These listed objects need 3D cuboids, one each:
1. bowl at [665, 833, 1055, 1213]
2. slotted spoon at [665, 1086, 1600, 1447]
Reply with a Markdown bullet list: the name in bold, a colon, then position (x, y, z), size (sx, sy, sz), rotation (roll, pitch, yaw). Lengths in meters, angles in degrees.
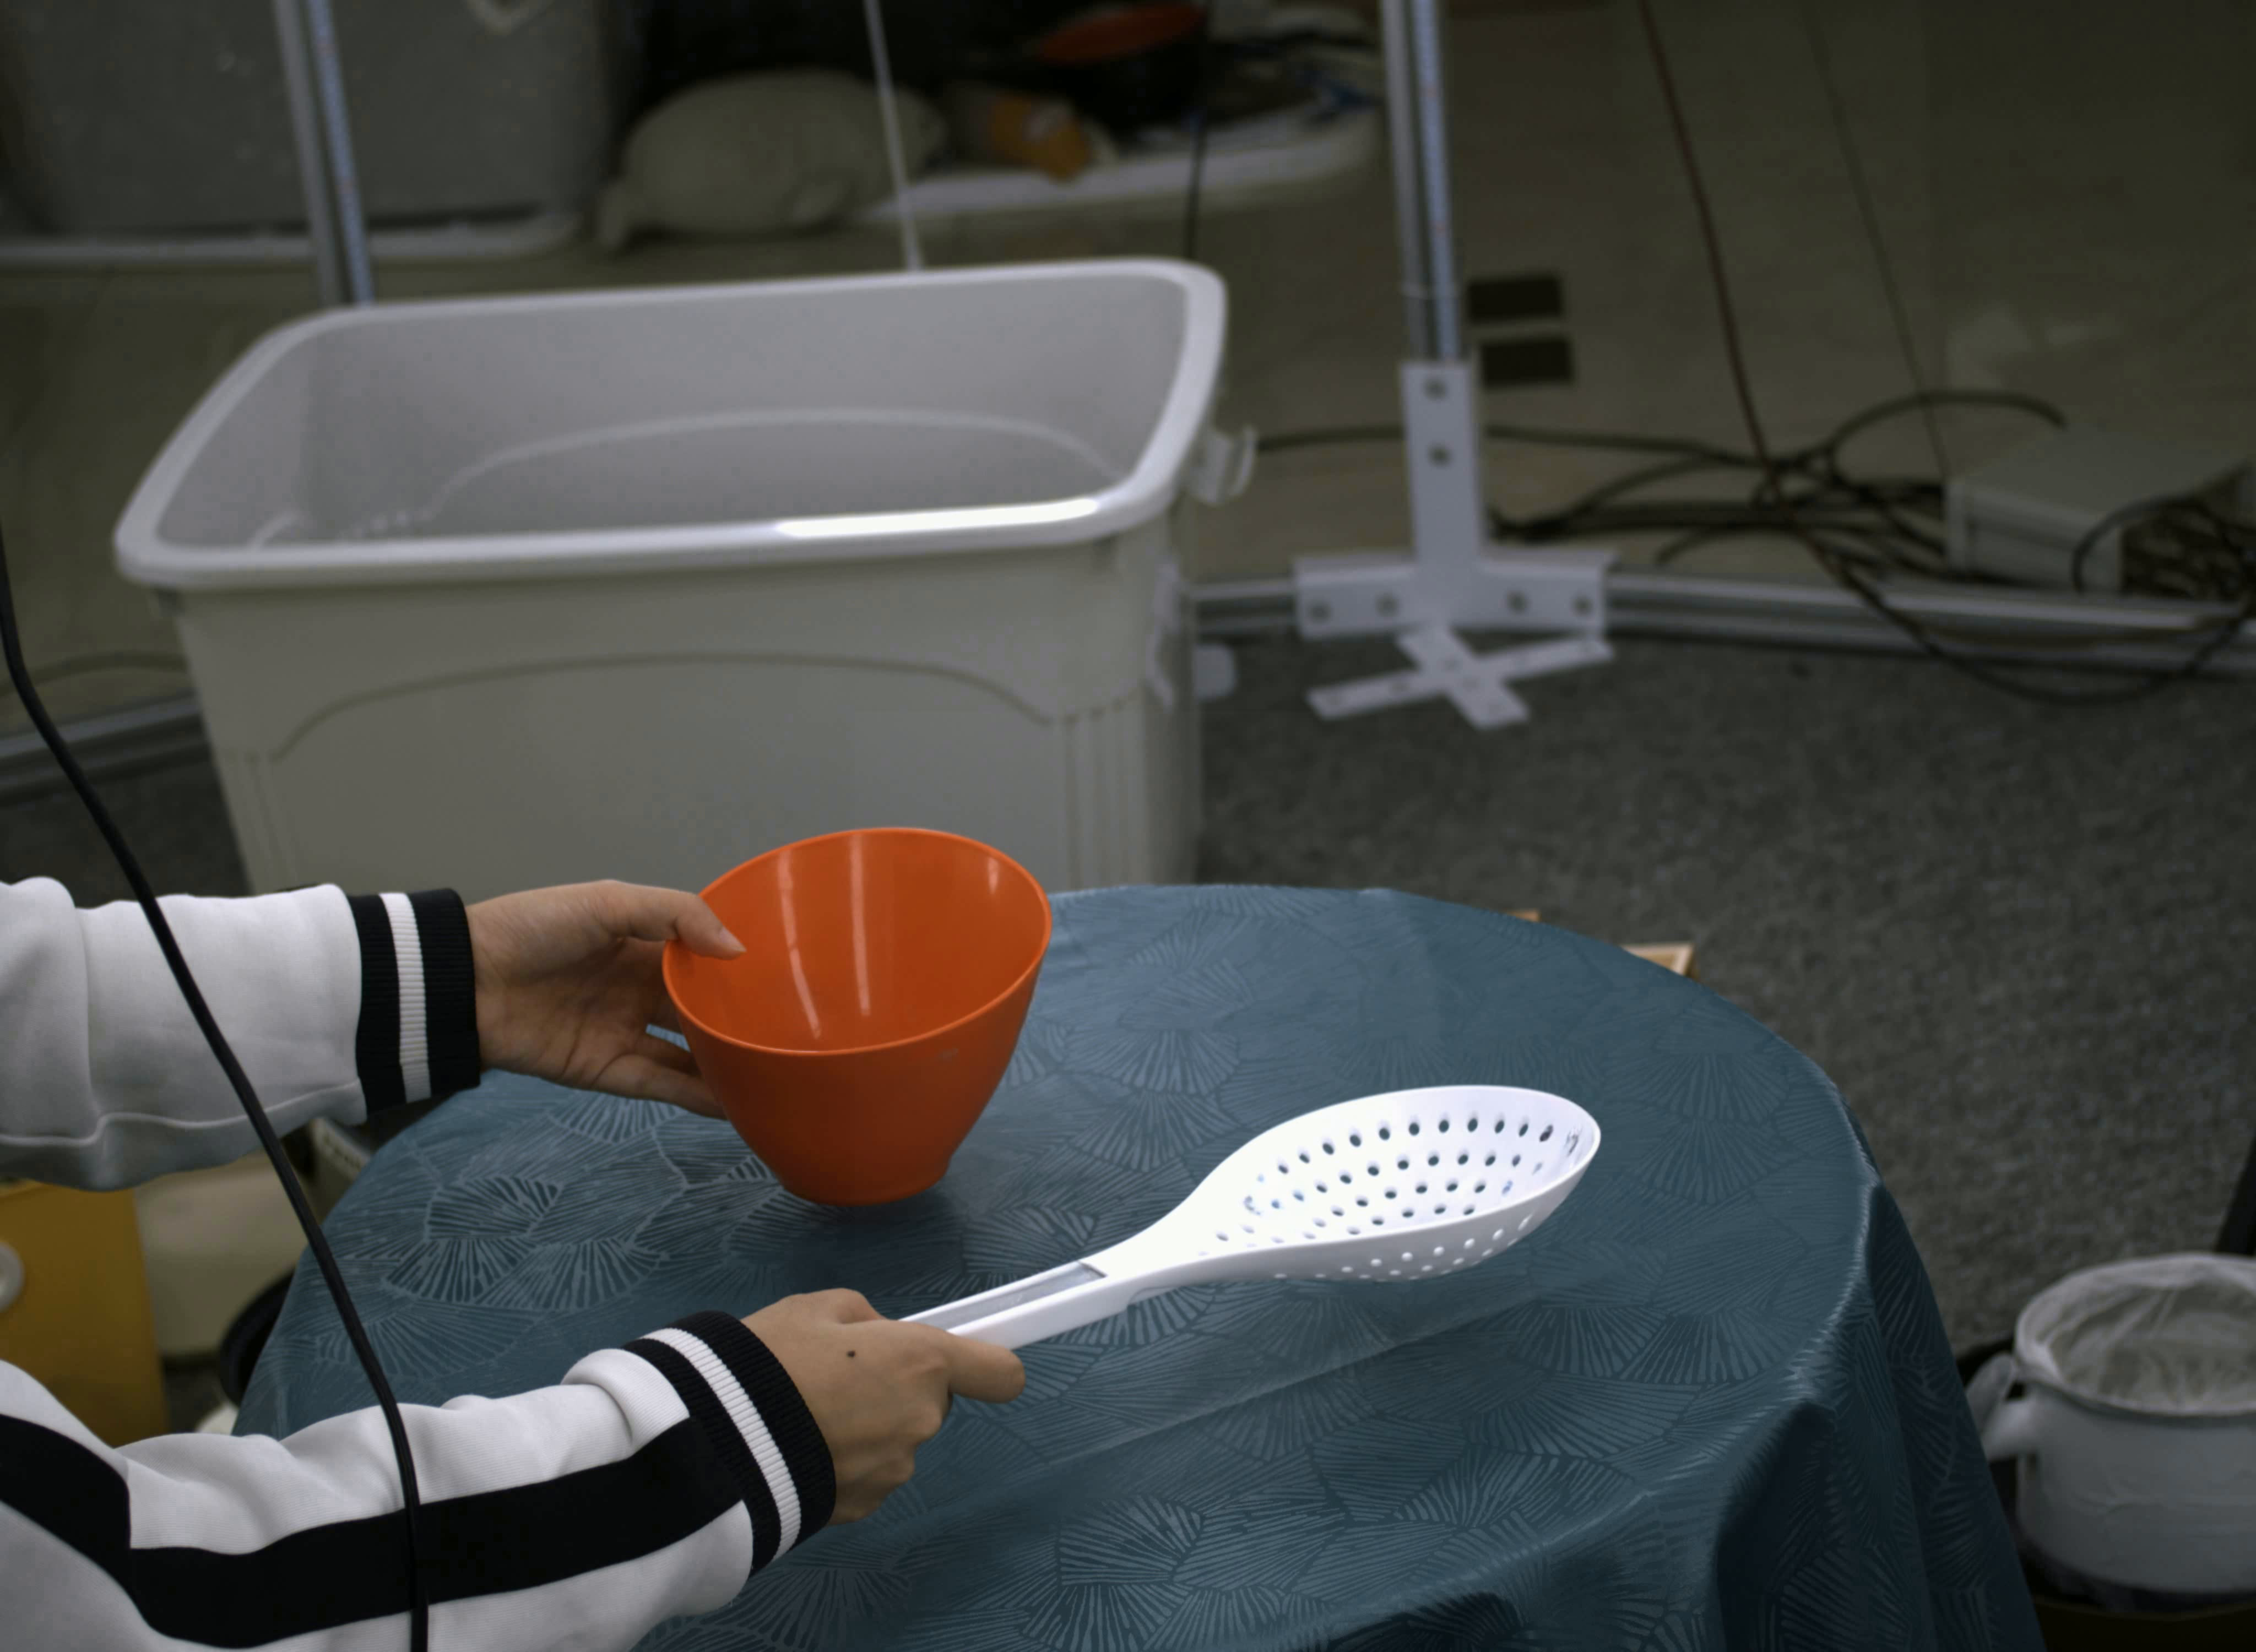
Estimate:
- **bowl**: position (-0.100, 0.081, 2.149), size (0.148, 0.106, 0.146), rotation (-2, 26, 1)
- **slotted spoon**: position (0.004, 0.151, 1.949), size (0.348, 0.046, 0.135), rotation (-12, 16, -24)
